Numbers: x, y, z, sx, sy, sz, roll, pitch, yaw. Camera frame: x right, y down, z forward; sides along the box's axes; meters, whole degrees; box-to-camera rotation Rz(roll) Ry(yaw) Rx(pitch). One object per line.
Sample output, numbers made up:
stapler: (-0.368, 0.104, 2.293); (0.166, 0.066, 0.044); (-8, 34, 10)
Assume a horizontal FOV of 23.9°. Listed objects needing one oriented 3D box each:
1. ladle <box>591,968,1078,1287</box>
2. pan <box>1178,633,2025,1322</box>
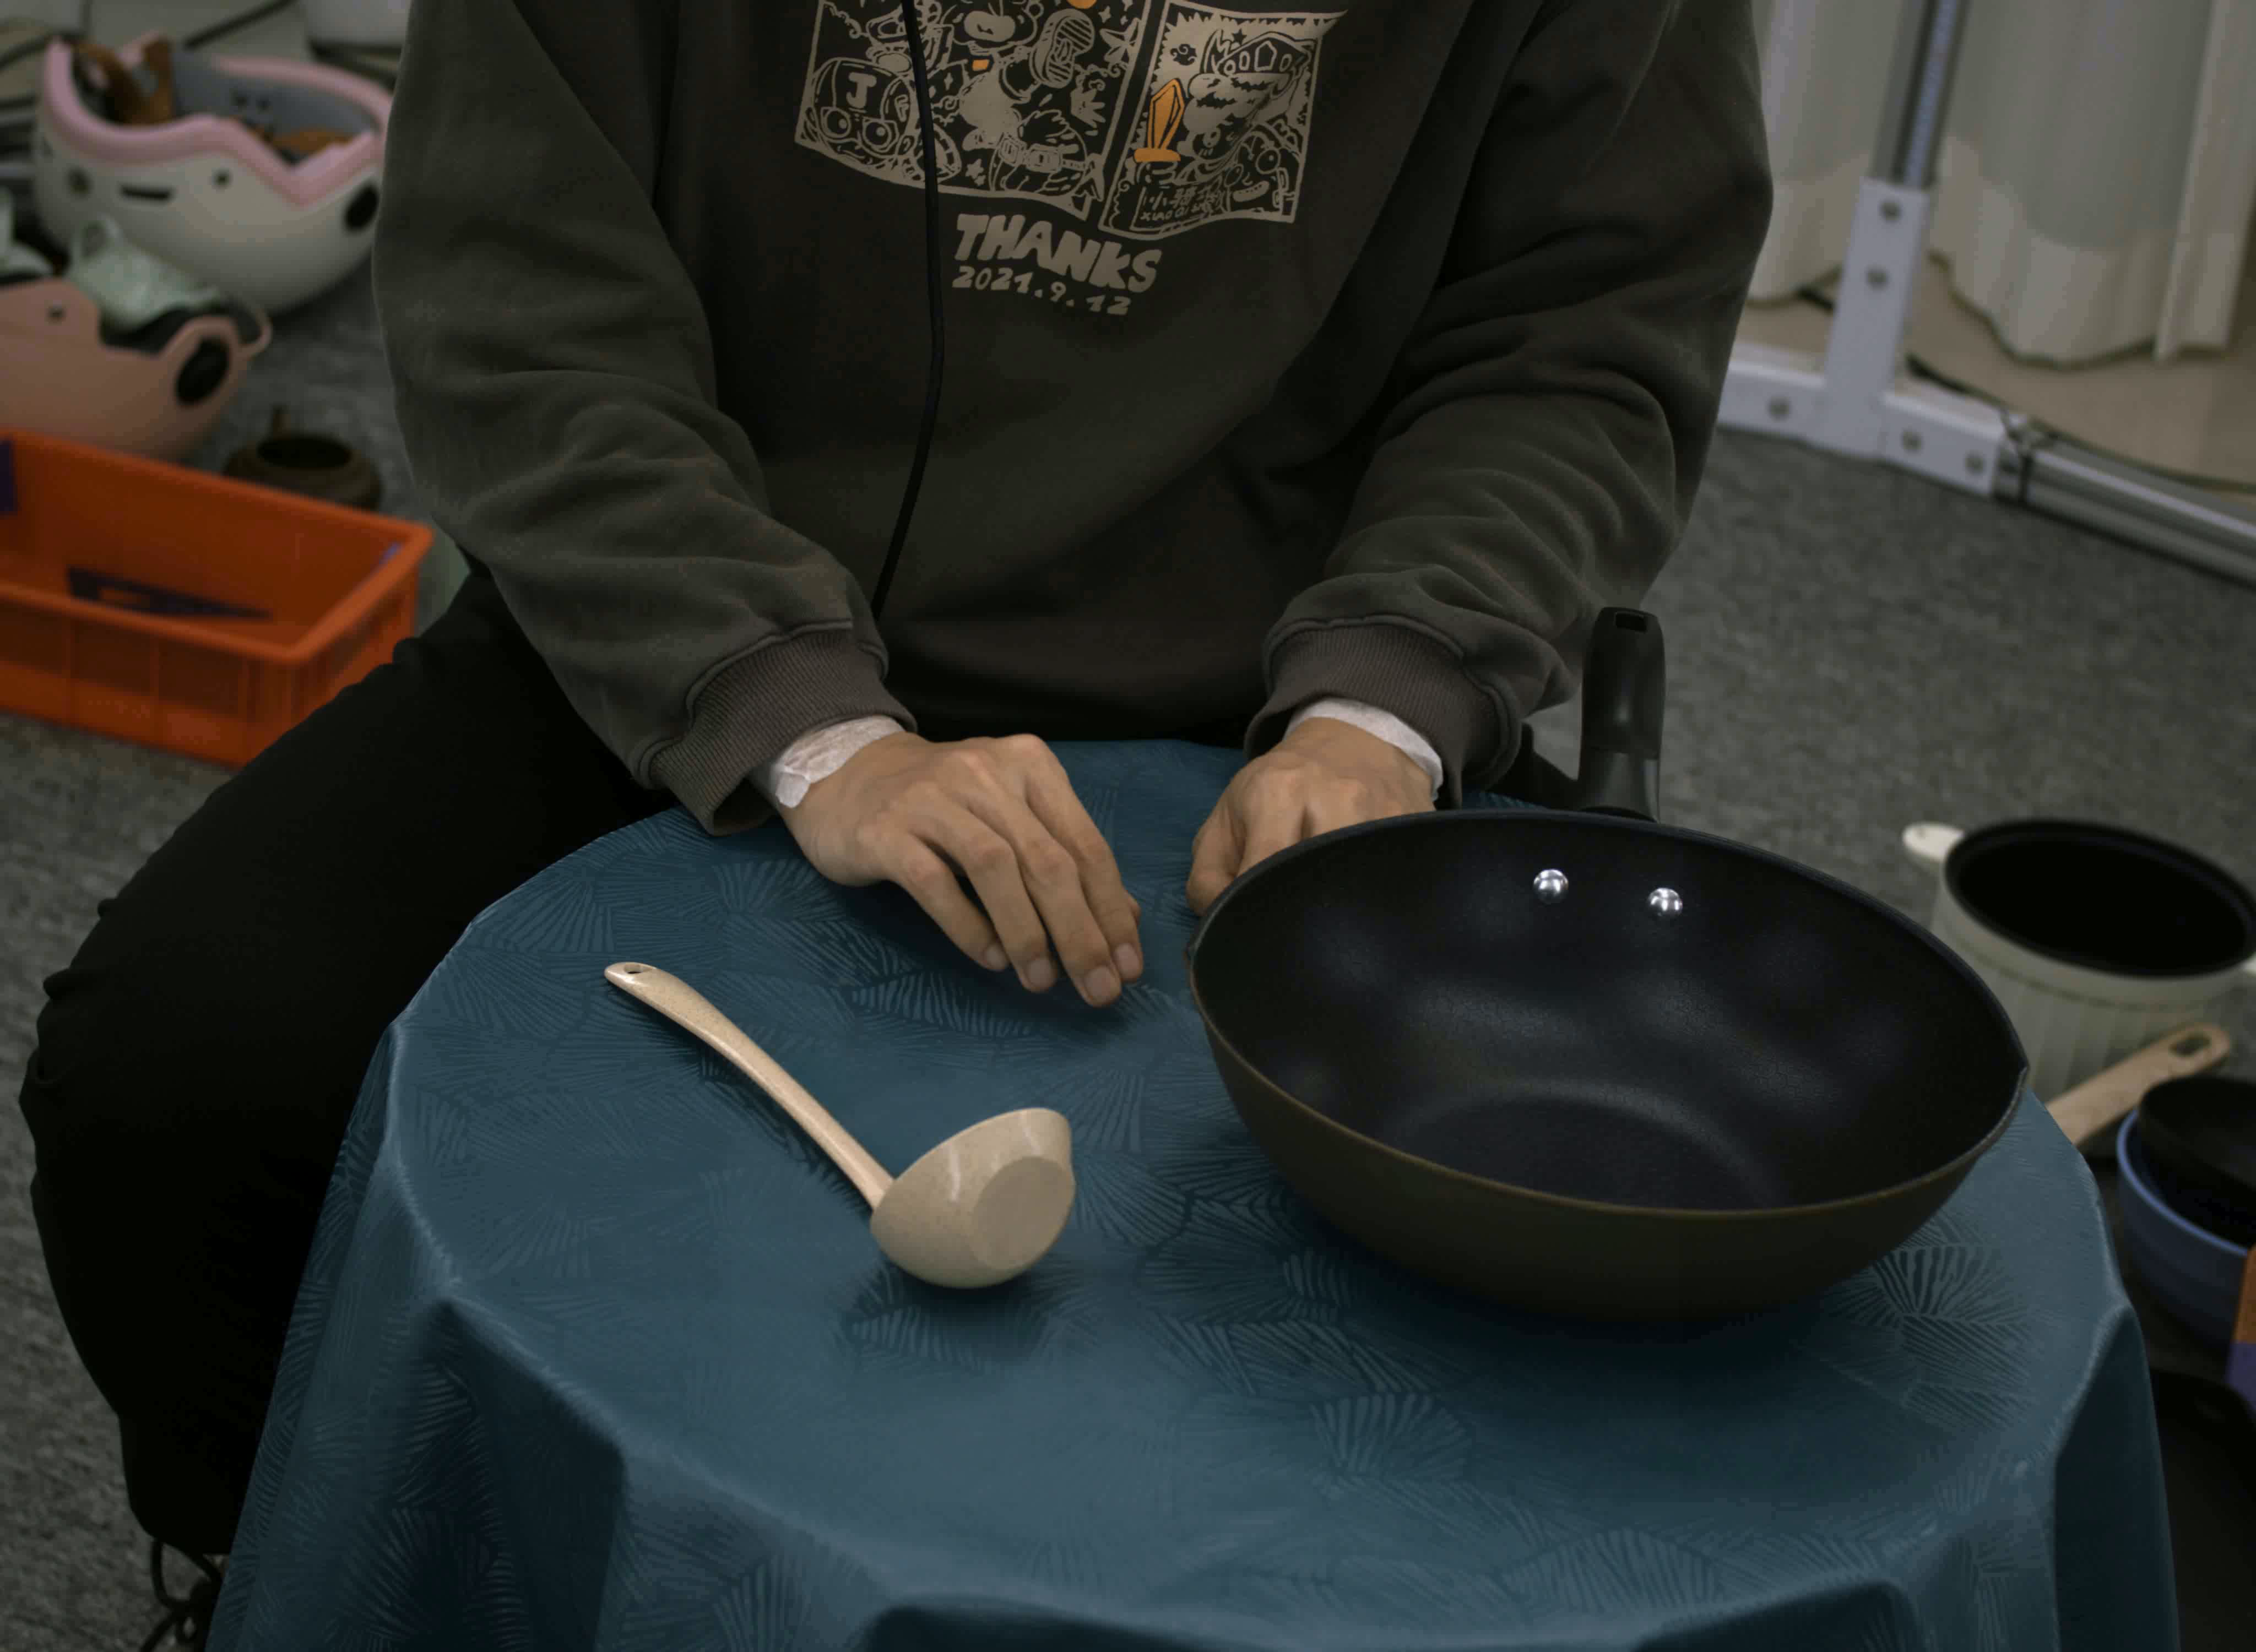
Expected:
ladle: (-0.110, 0.075, 1.796); (0.072, 0.072, 0.256); (-19, 36, -32)
pan: (0.165, 0.053, 1.889); (0.287, 0.086, 0.465); (8, 26, 4)
